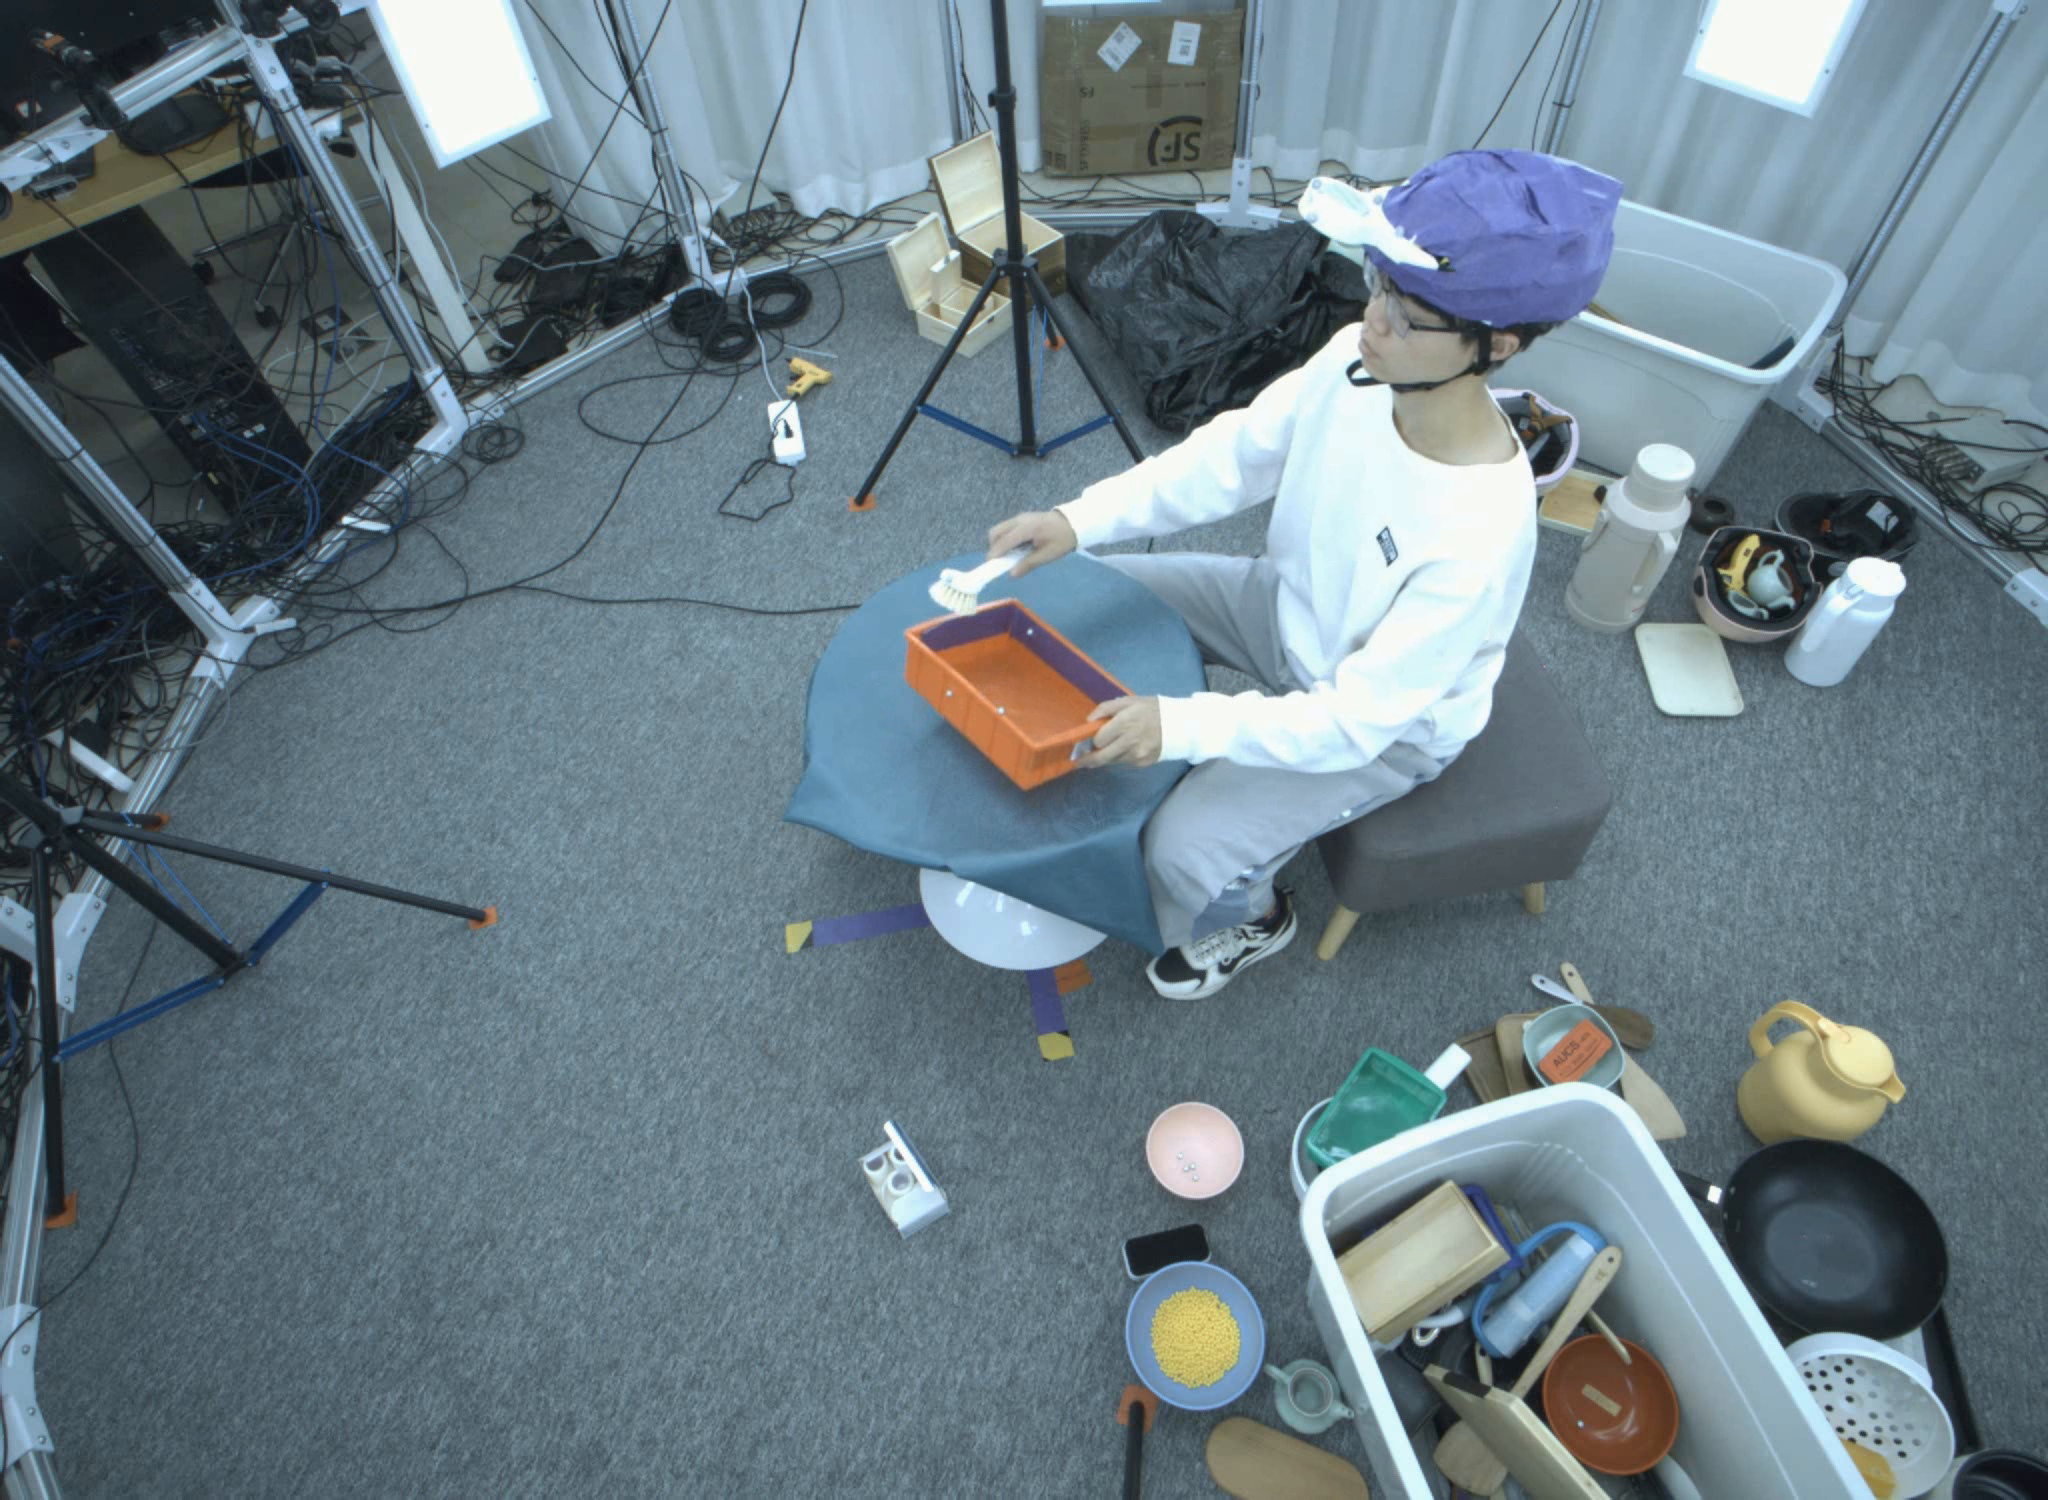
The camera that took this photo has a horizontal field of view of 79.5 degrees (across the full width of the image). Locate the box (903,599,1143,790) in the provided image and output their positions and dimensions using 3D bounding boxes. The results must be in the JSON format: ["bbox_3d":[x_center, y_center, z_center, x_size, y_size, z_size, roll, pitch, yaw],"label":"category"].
[{"bbox_3d":[-0.011,-0.081,1.721,0.210,0.097,0.297,-21,52,-37],"label":"box"}]

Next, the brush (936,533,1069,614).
[{"bbox_3d":[-0.026,-0.261,1.781,0.068,0.056,0.270,46,41,13],"label":"brush"}]
